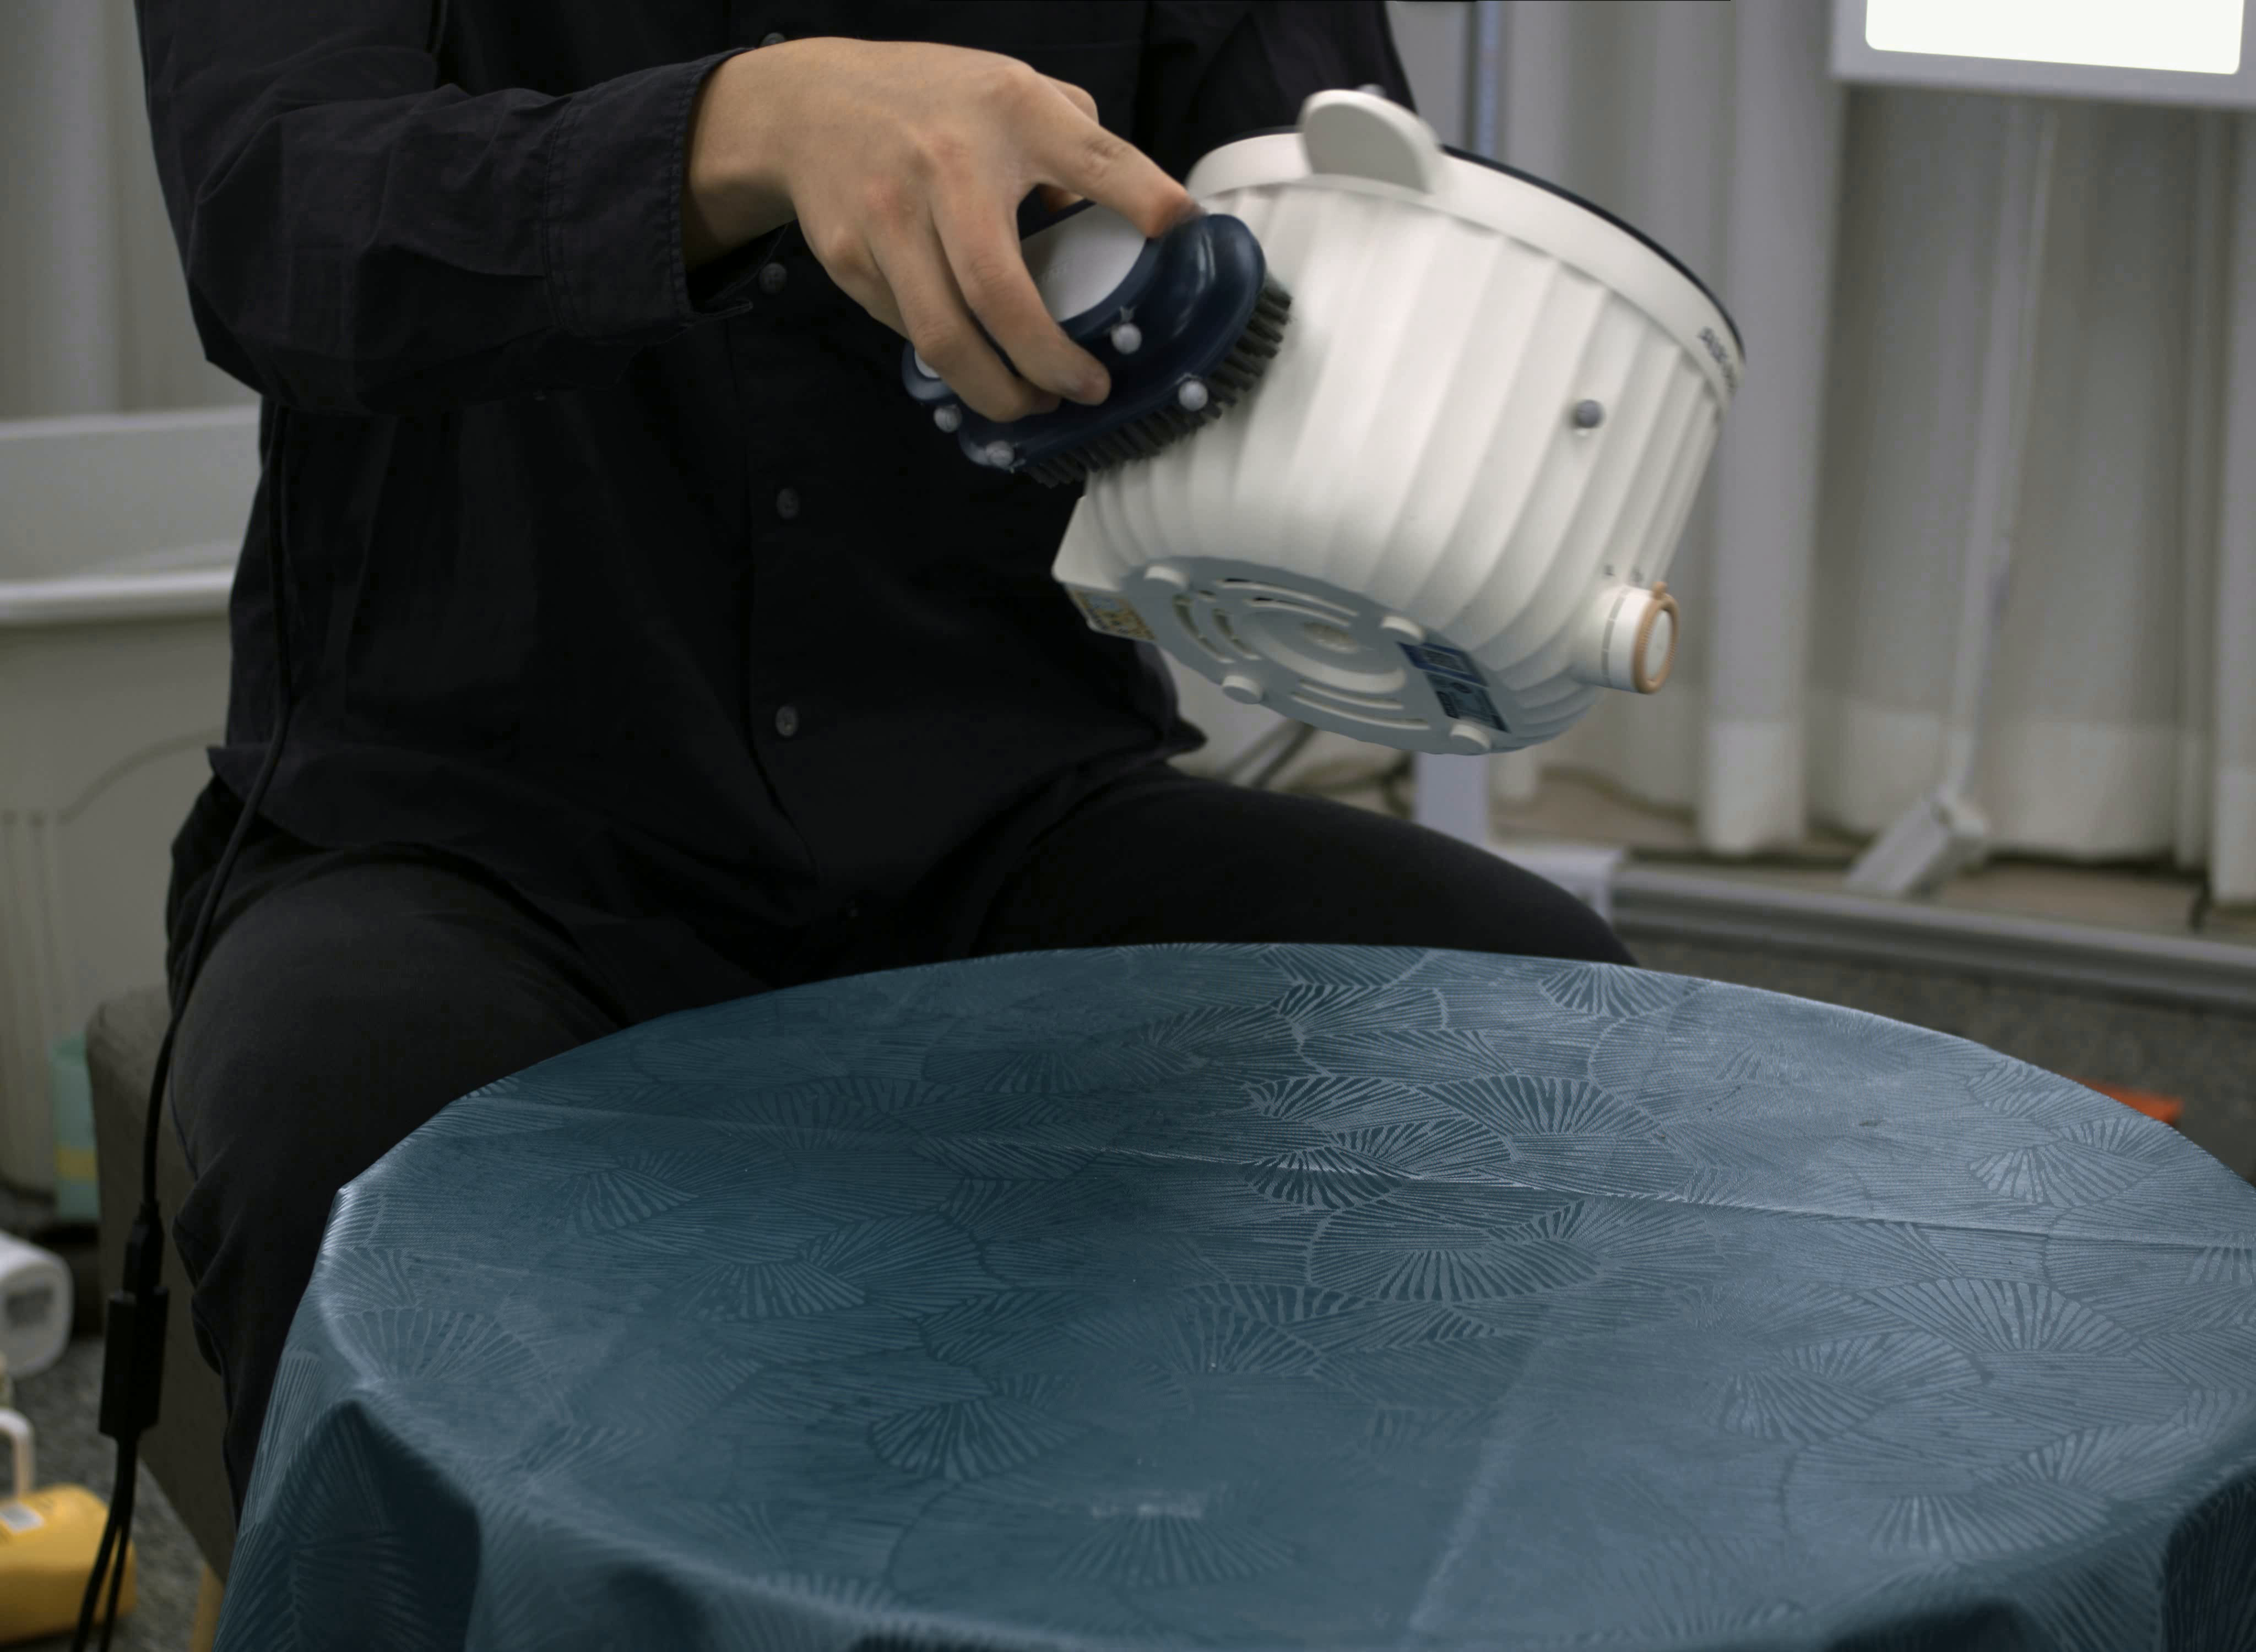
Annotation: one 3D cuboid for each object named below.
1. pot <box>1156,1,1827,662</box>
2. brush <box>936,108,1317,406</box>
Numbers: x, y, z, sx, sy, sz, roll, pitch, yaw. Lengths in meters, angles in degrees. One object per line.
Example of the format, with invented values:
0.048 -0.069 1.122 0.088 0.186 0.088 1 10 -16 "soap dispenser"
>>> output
0.118 -0.138 1.645 0.188 0.142 0.243 11 -18 22 "pot"
0.001 -0.168 1.576 0.120 0.067 0.062 -15 -37 41 "brush"
